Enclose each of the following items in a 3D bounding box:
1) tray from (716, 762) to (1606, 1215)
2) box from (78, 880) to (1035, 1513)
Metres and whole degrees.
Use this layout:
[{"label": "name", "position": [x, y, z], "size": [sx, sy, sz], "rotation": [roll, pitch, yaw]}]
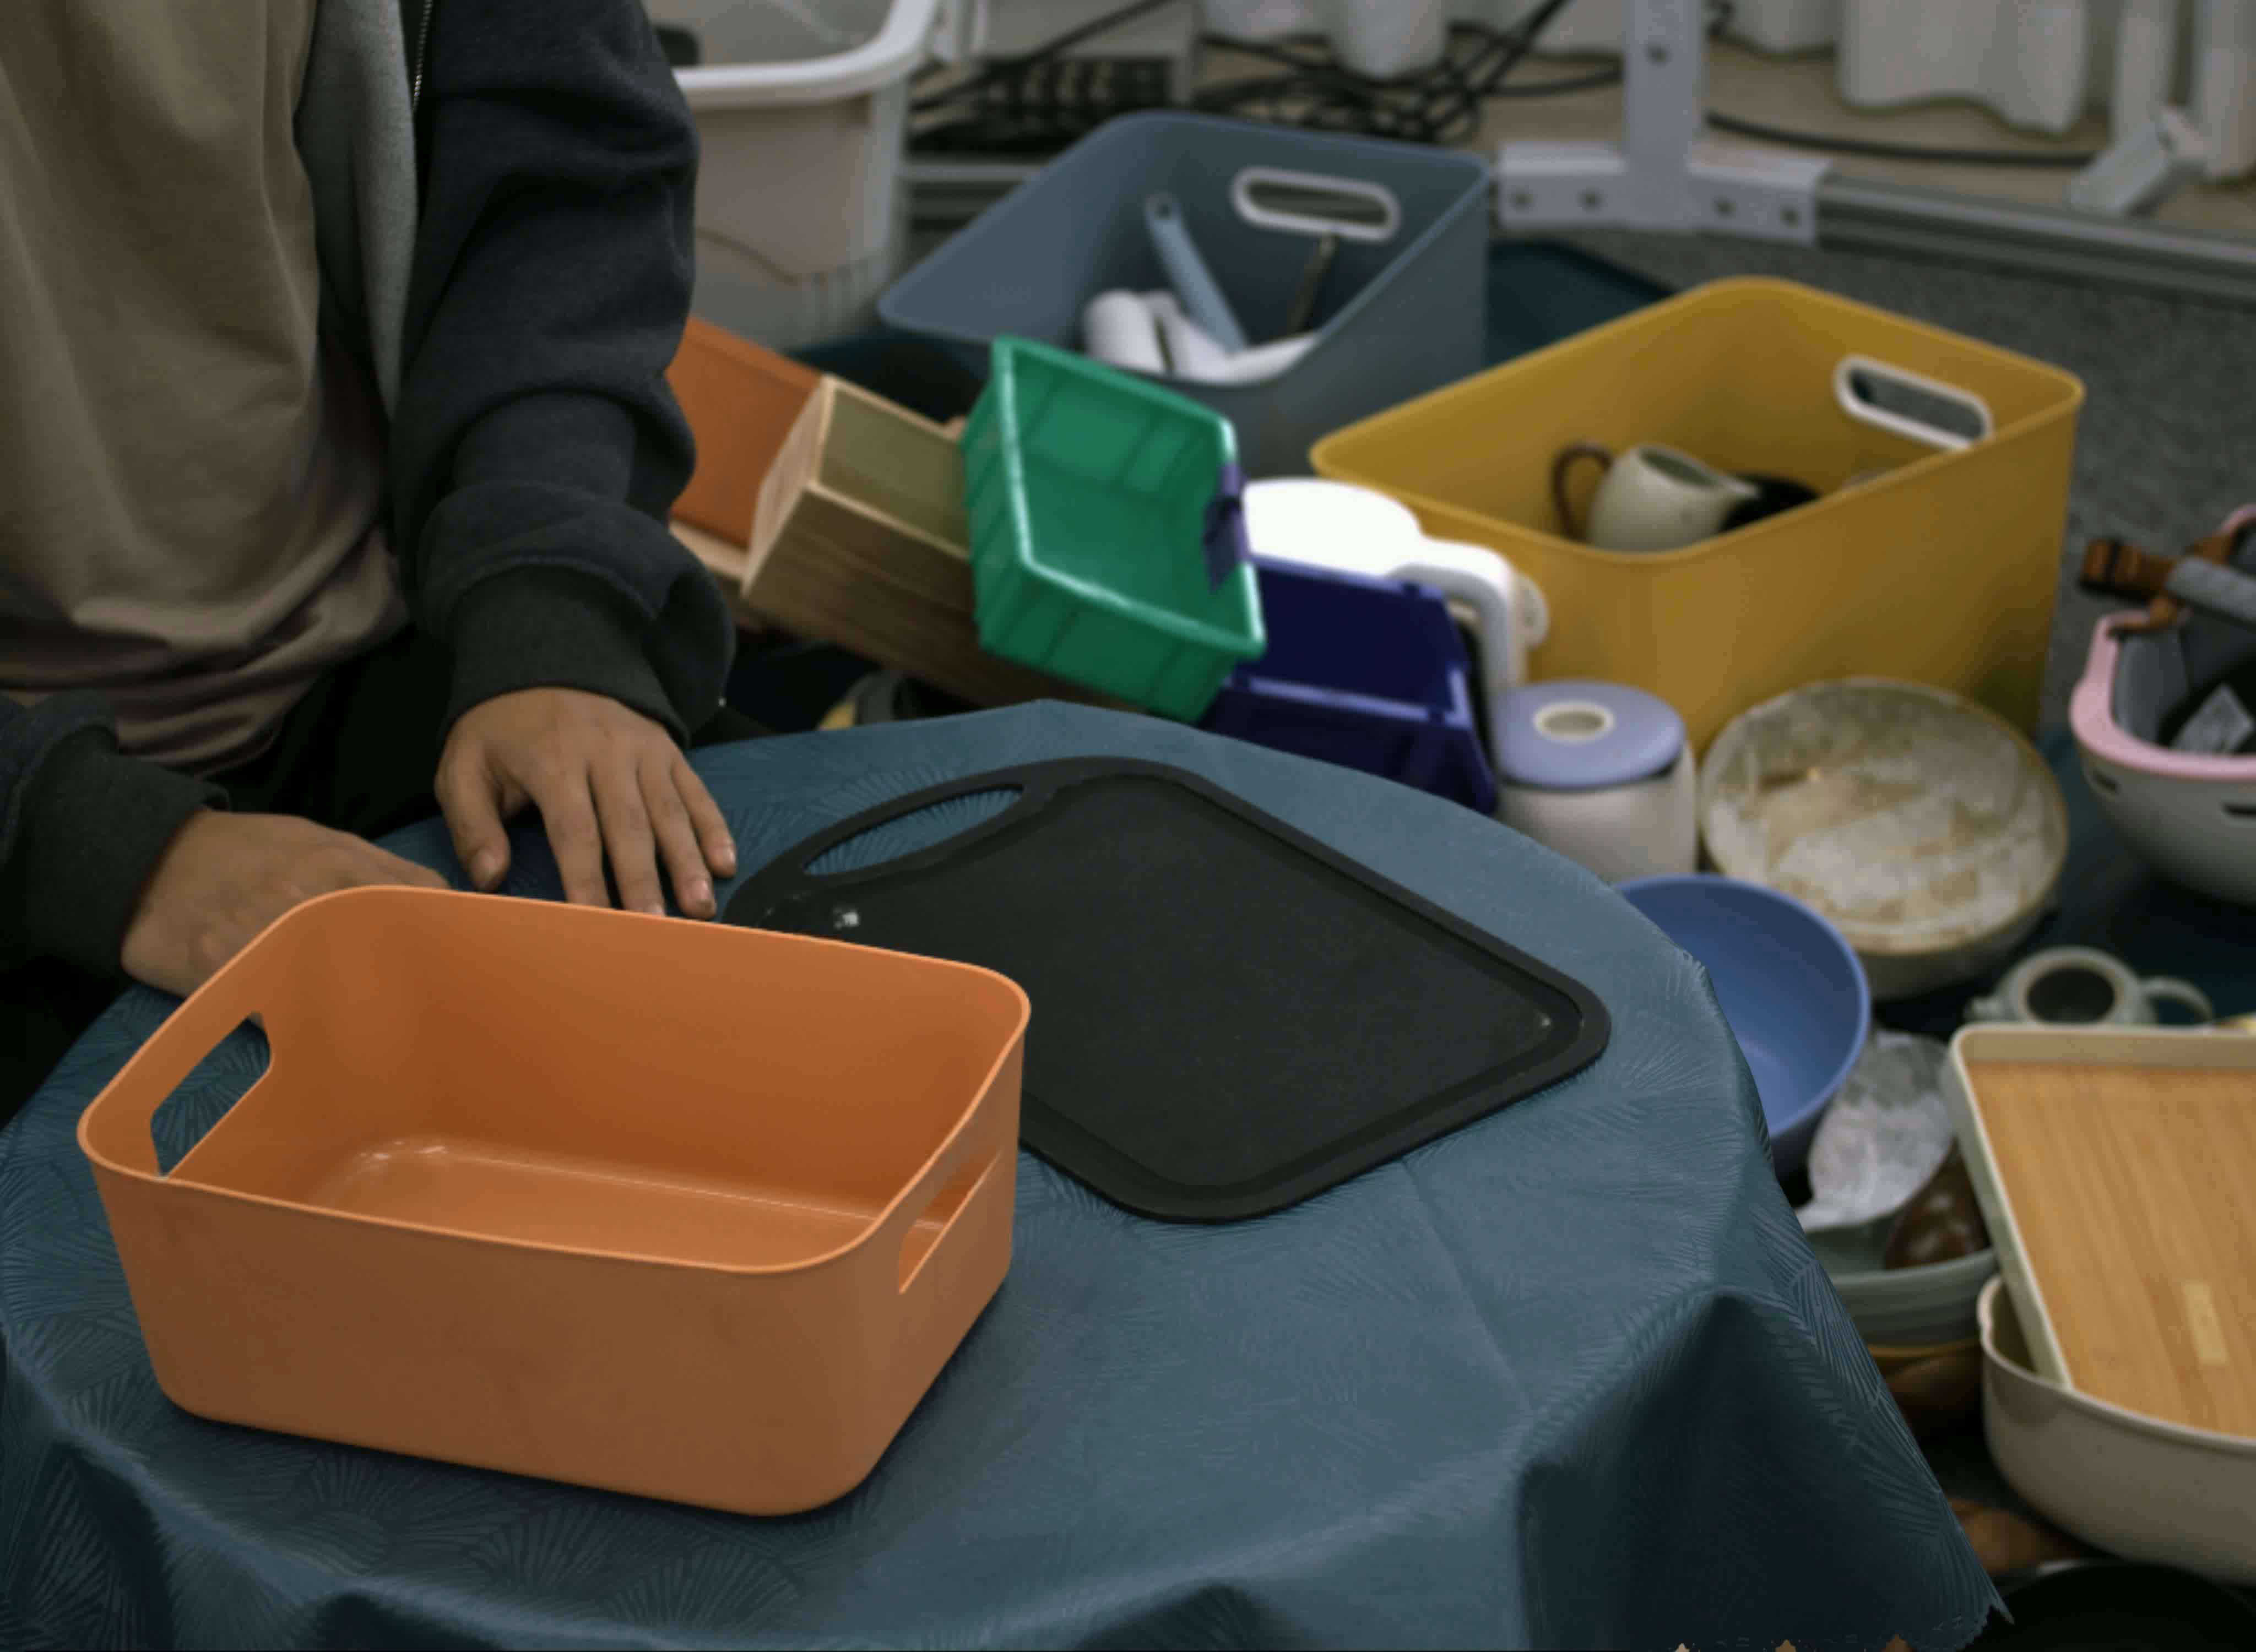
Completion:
[{"label": "tray", "position": [0.002, 0.049, 1.995], "size": [0.213, 0.009, 0.326], "rotation": [-21, 33, -32]}, {"label": "box", "position": [-0.174, 0.117, 1.777], "size": [0.271, 0.101, 0.203], "rotation": [7, 29, 18]}]
